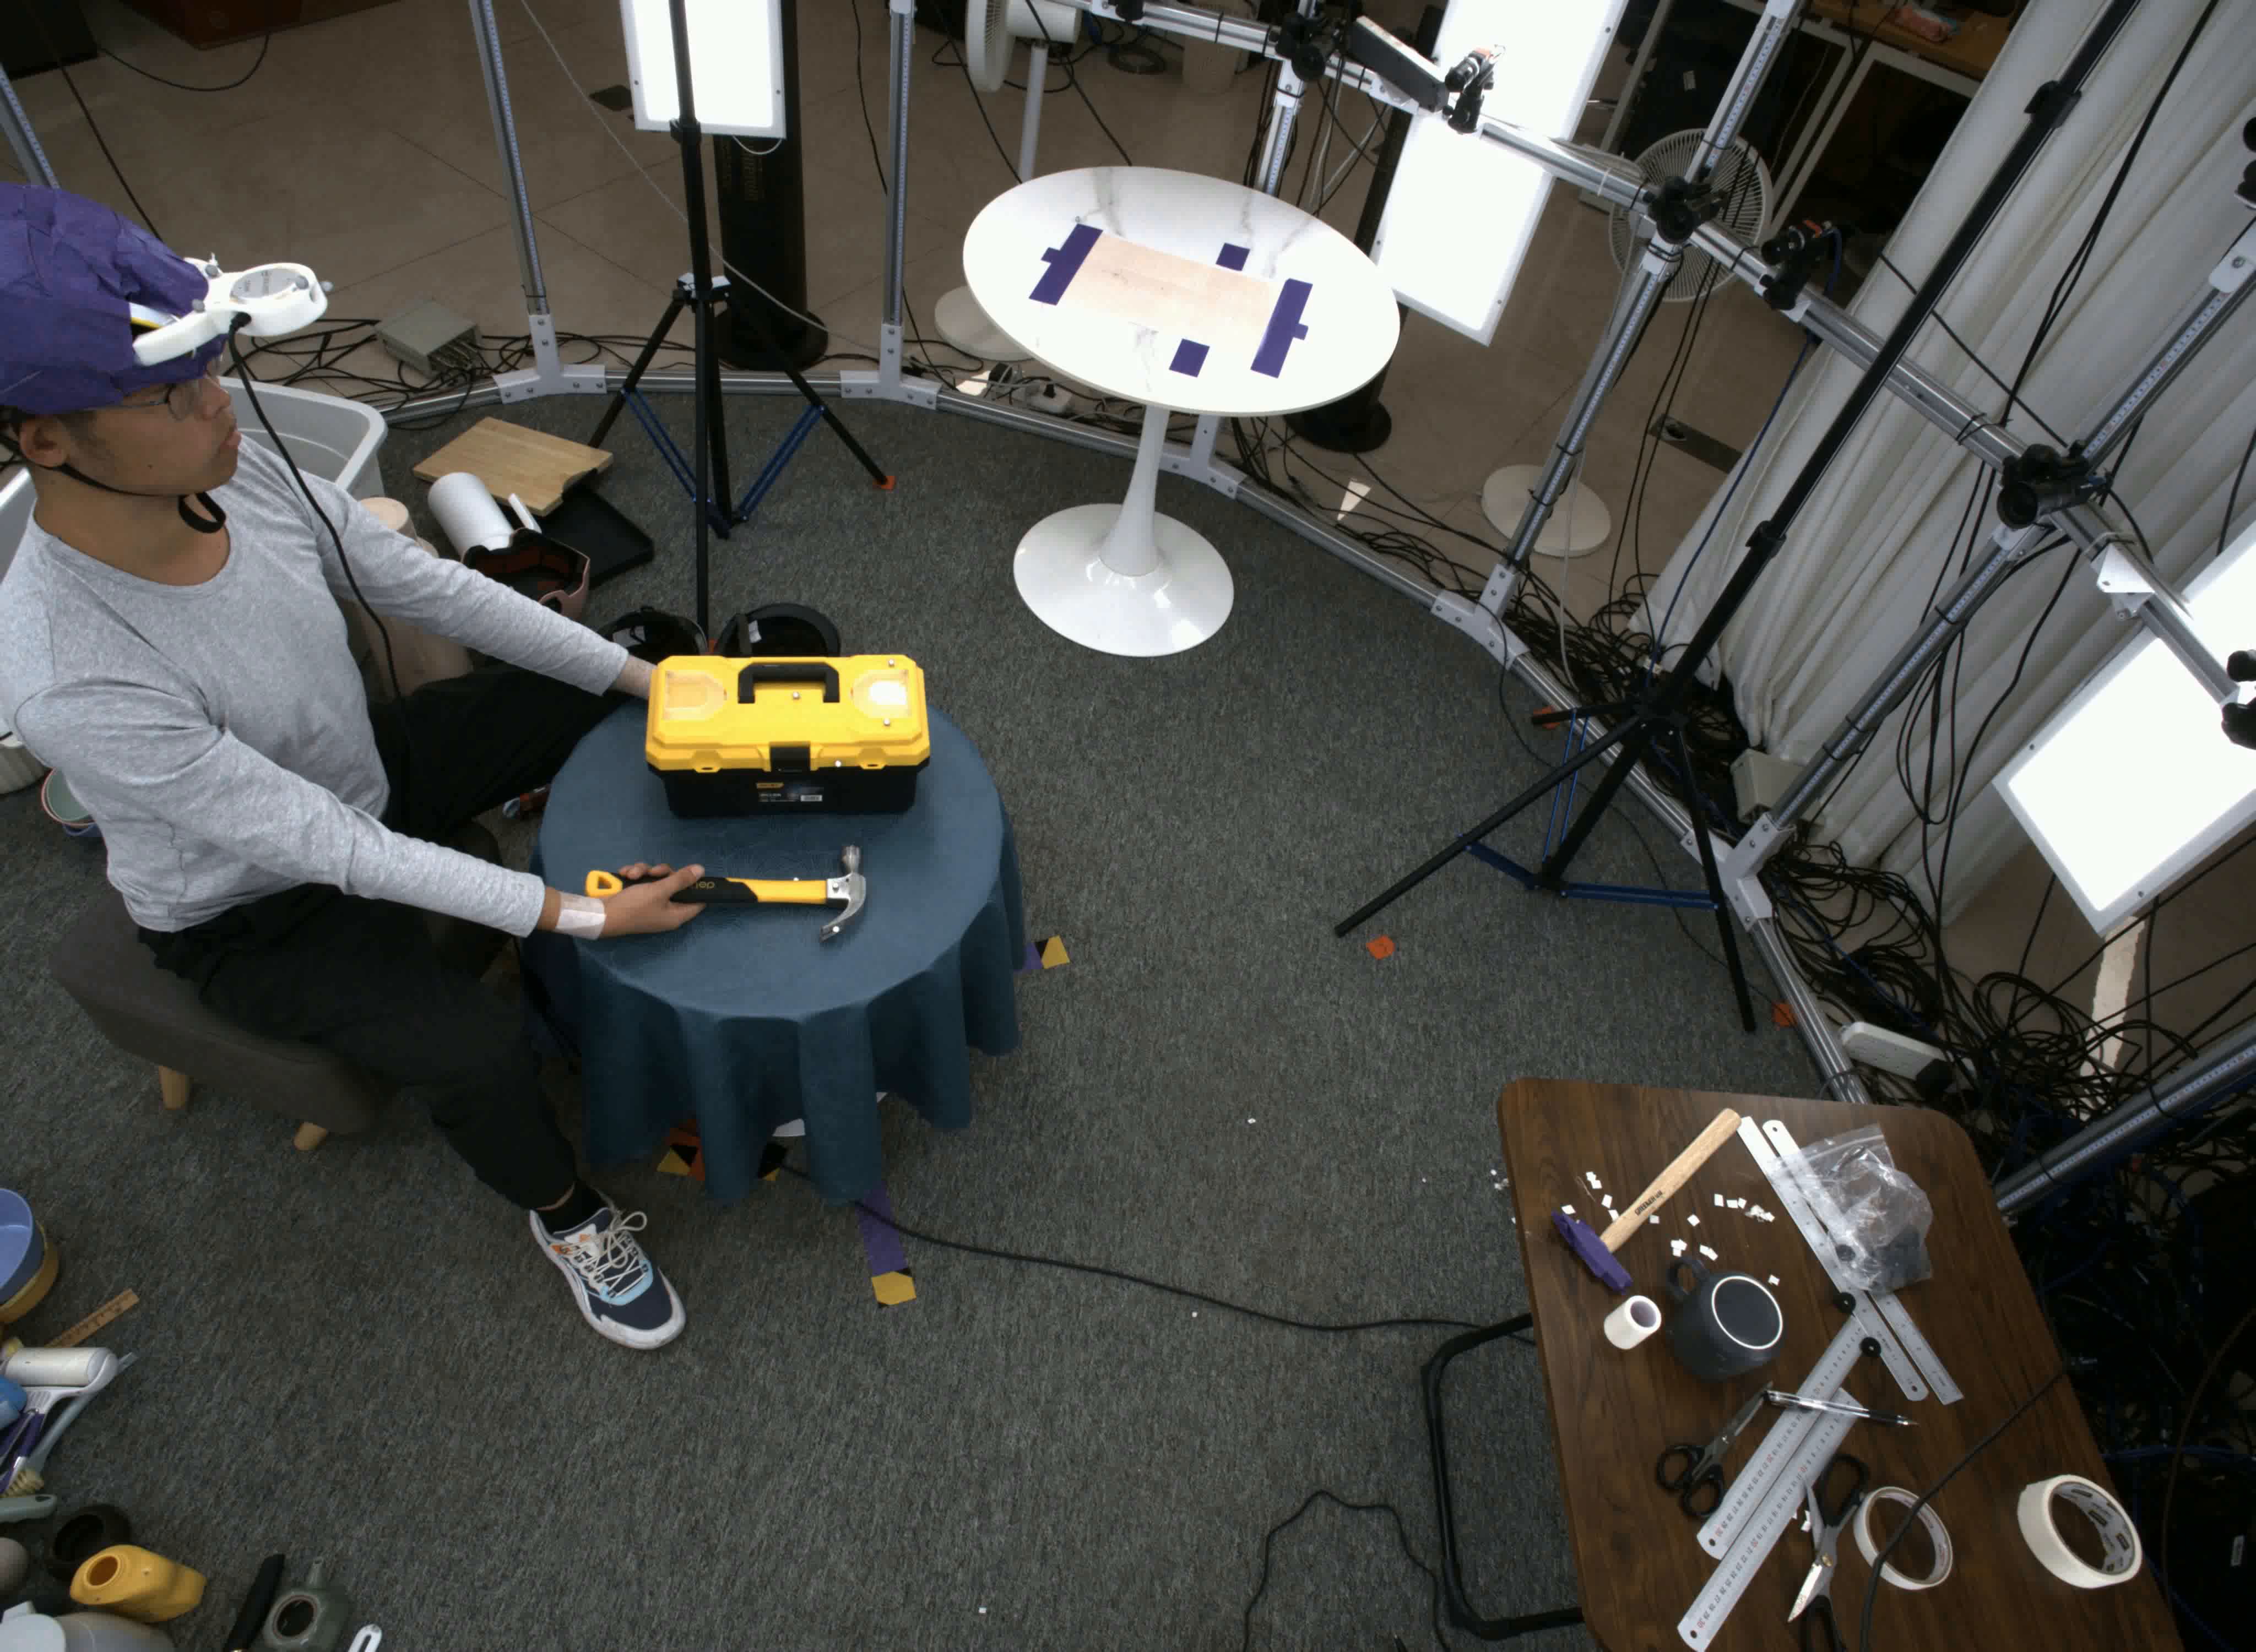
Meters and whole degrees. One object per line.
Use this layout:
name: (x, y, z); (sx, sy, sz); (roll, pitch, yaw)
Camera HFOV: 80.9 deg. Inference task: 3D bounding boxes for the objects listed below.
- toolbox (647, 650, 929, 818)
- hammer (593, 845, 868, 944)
toolbox: (-0.441, -0.117, 1.697); (0.352, 0.176, 0.177); (-2, 54, -14)
hammer: (-0.494, 0.081, 1.611); (0.341, 0.032, 0.129); (2, 57, -20)
